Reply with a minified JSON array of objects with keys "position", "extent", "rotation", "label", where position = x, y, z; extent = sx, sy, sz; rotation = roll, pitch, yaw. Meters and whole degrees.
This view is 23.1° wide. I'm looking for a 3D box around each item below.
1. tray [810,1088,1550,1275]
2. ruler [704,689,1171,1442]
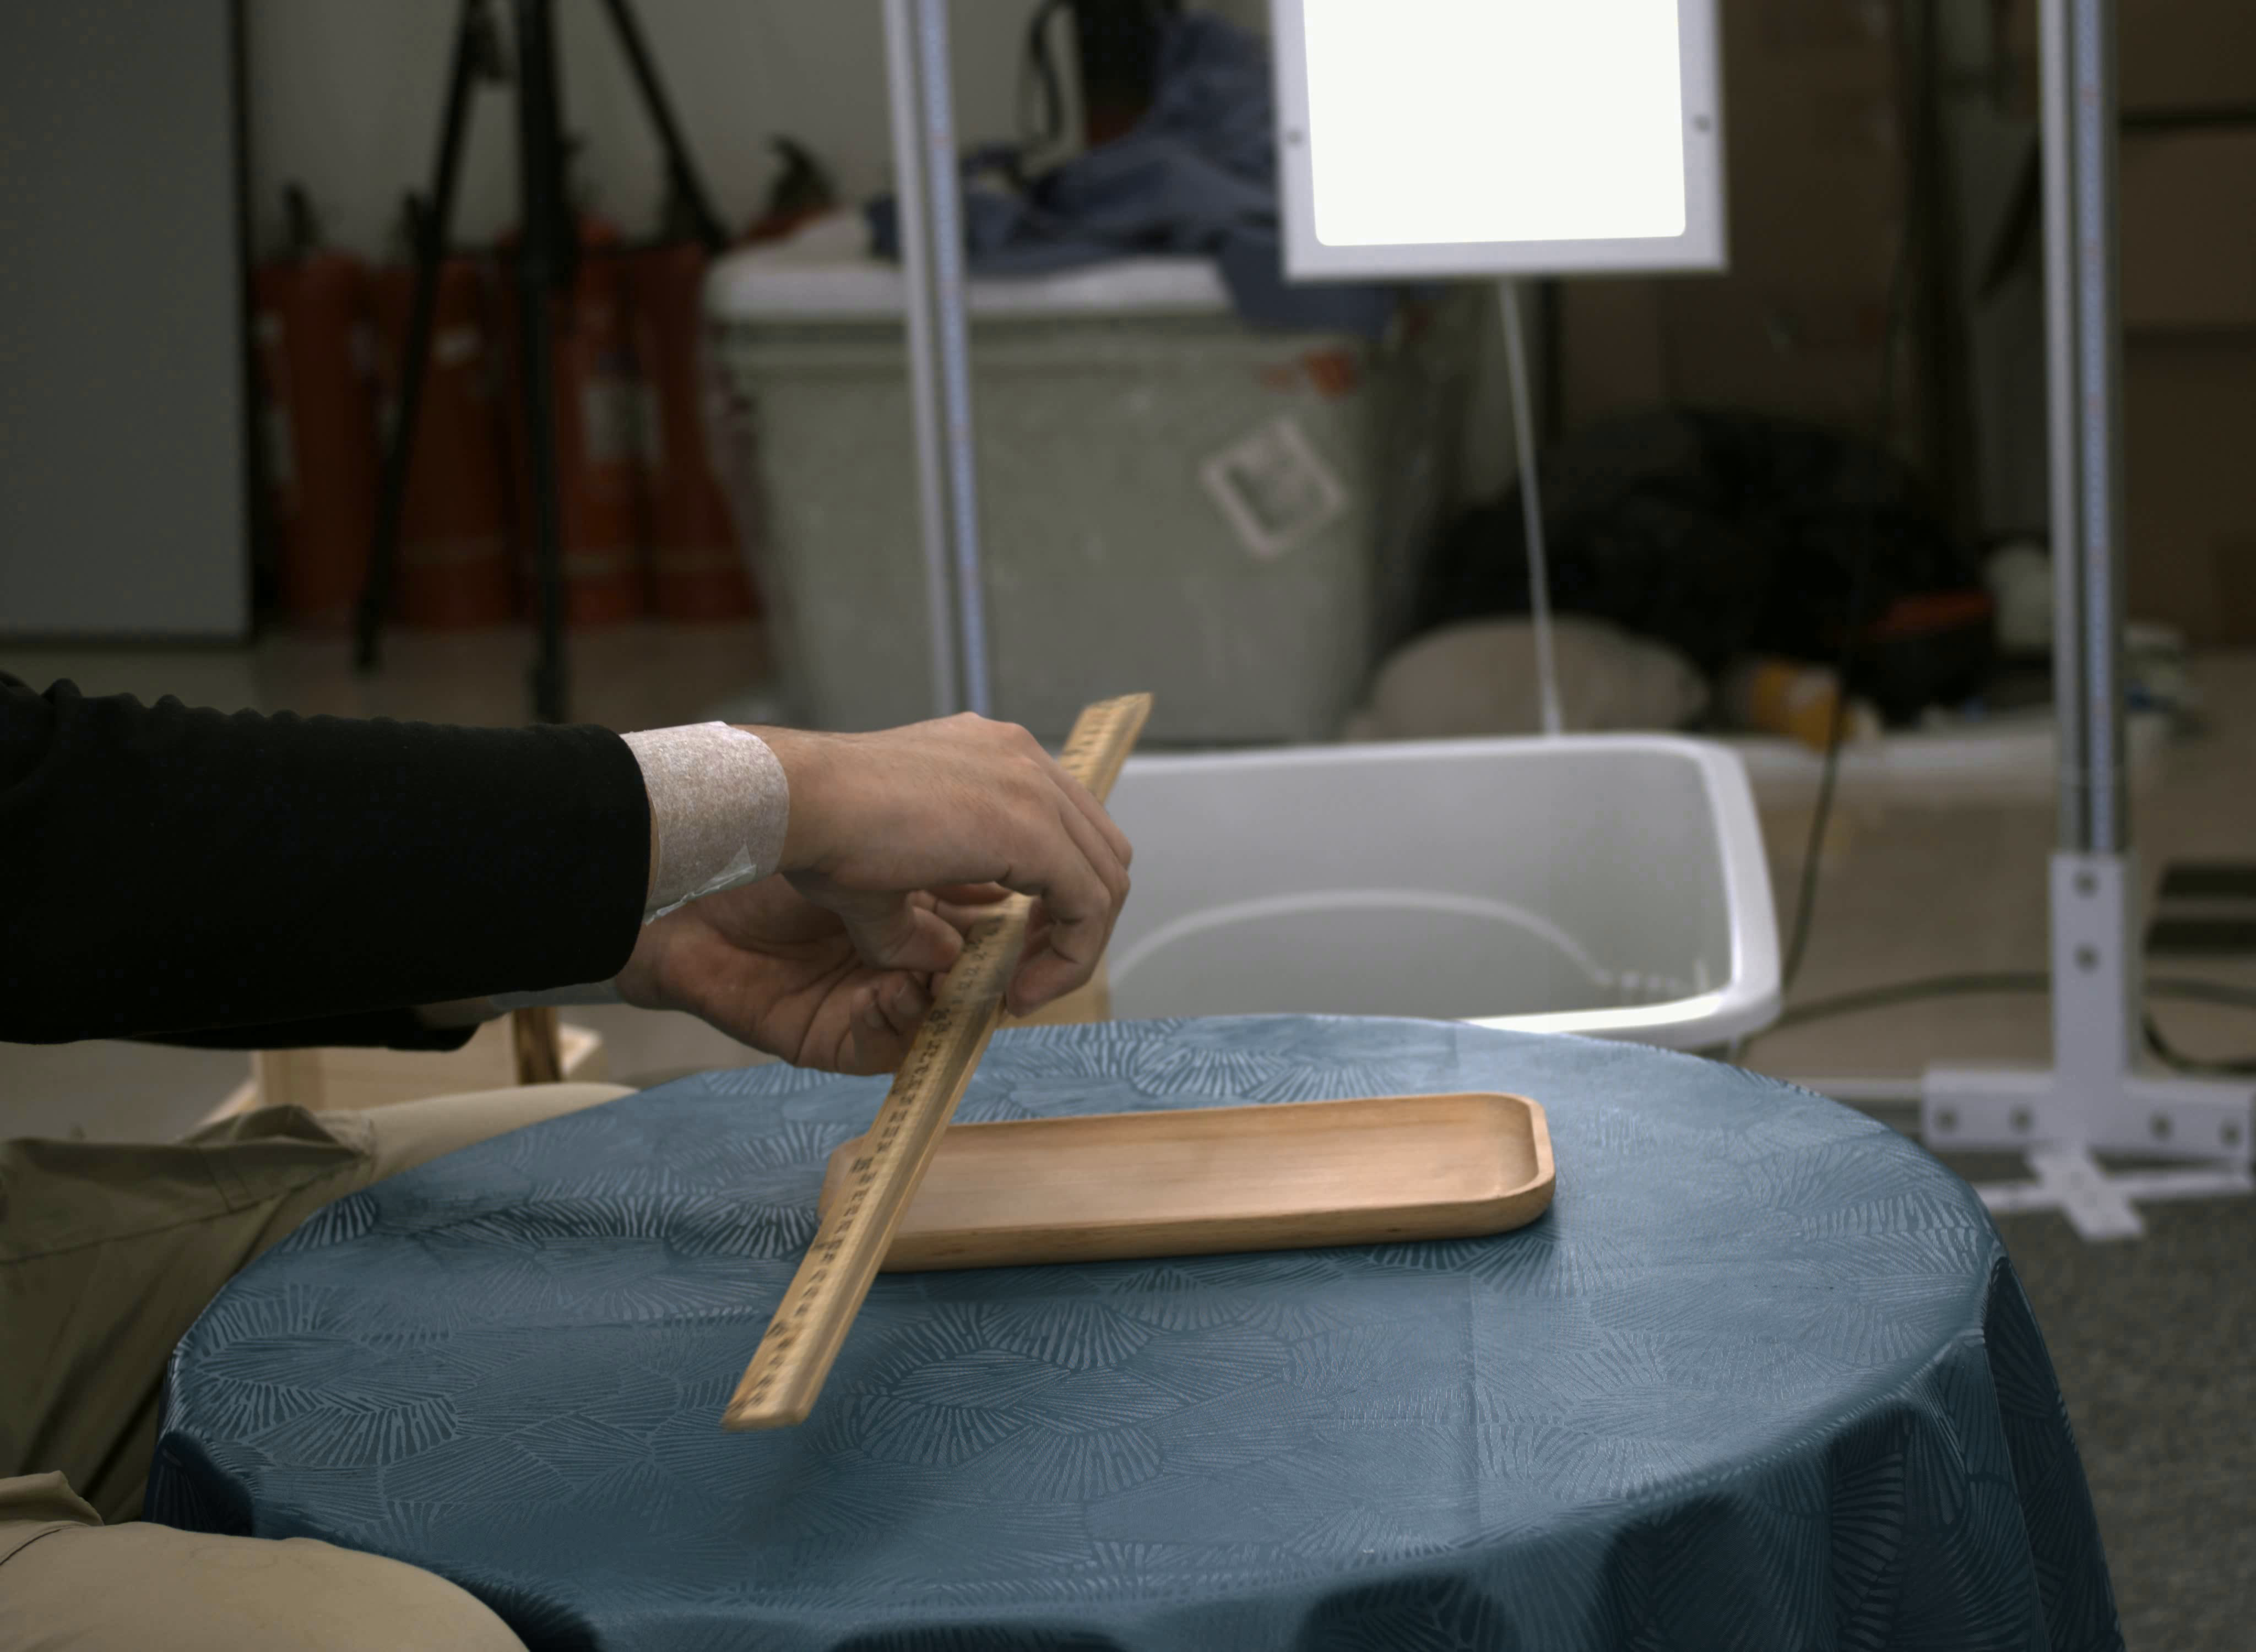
[{"position":[0.019,0.121,1.880],"extent":[0.251,0.023,0.130],"rotation":[-5,12,6],"label":"tray"},{"position":[-0.054,0.064,1.791],"extent":[0.027,0.006,0.493],"rotation":[-11,23,20],"label":"ruler"}]
